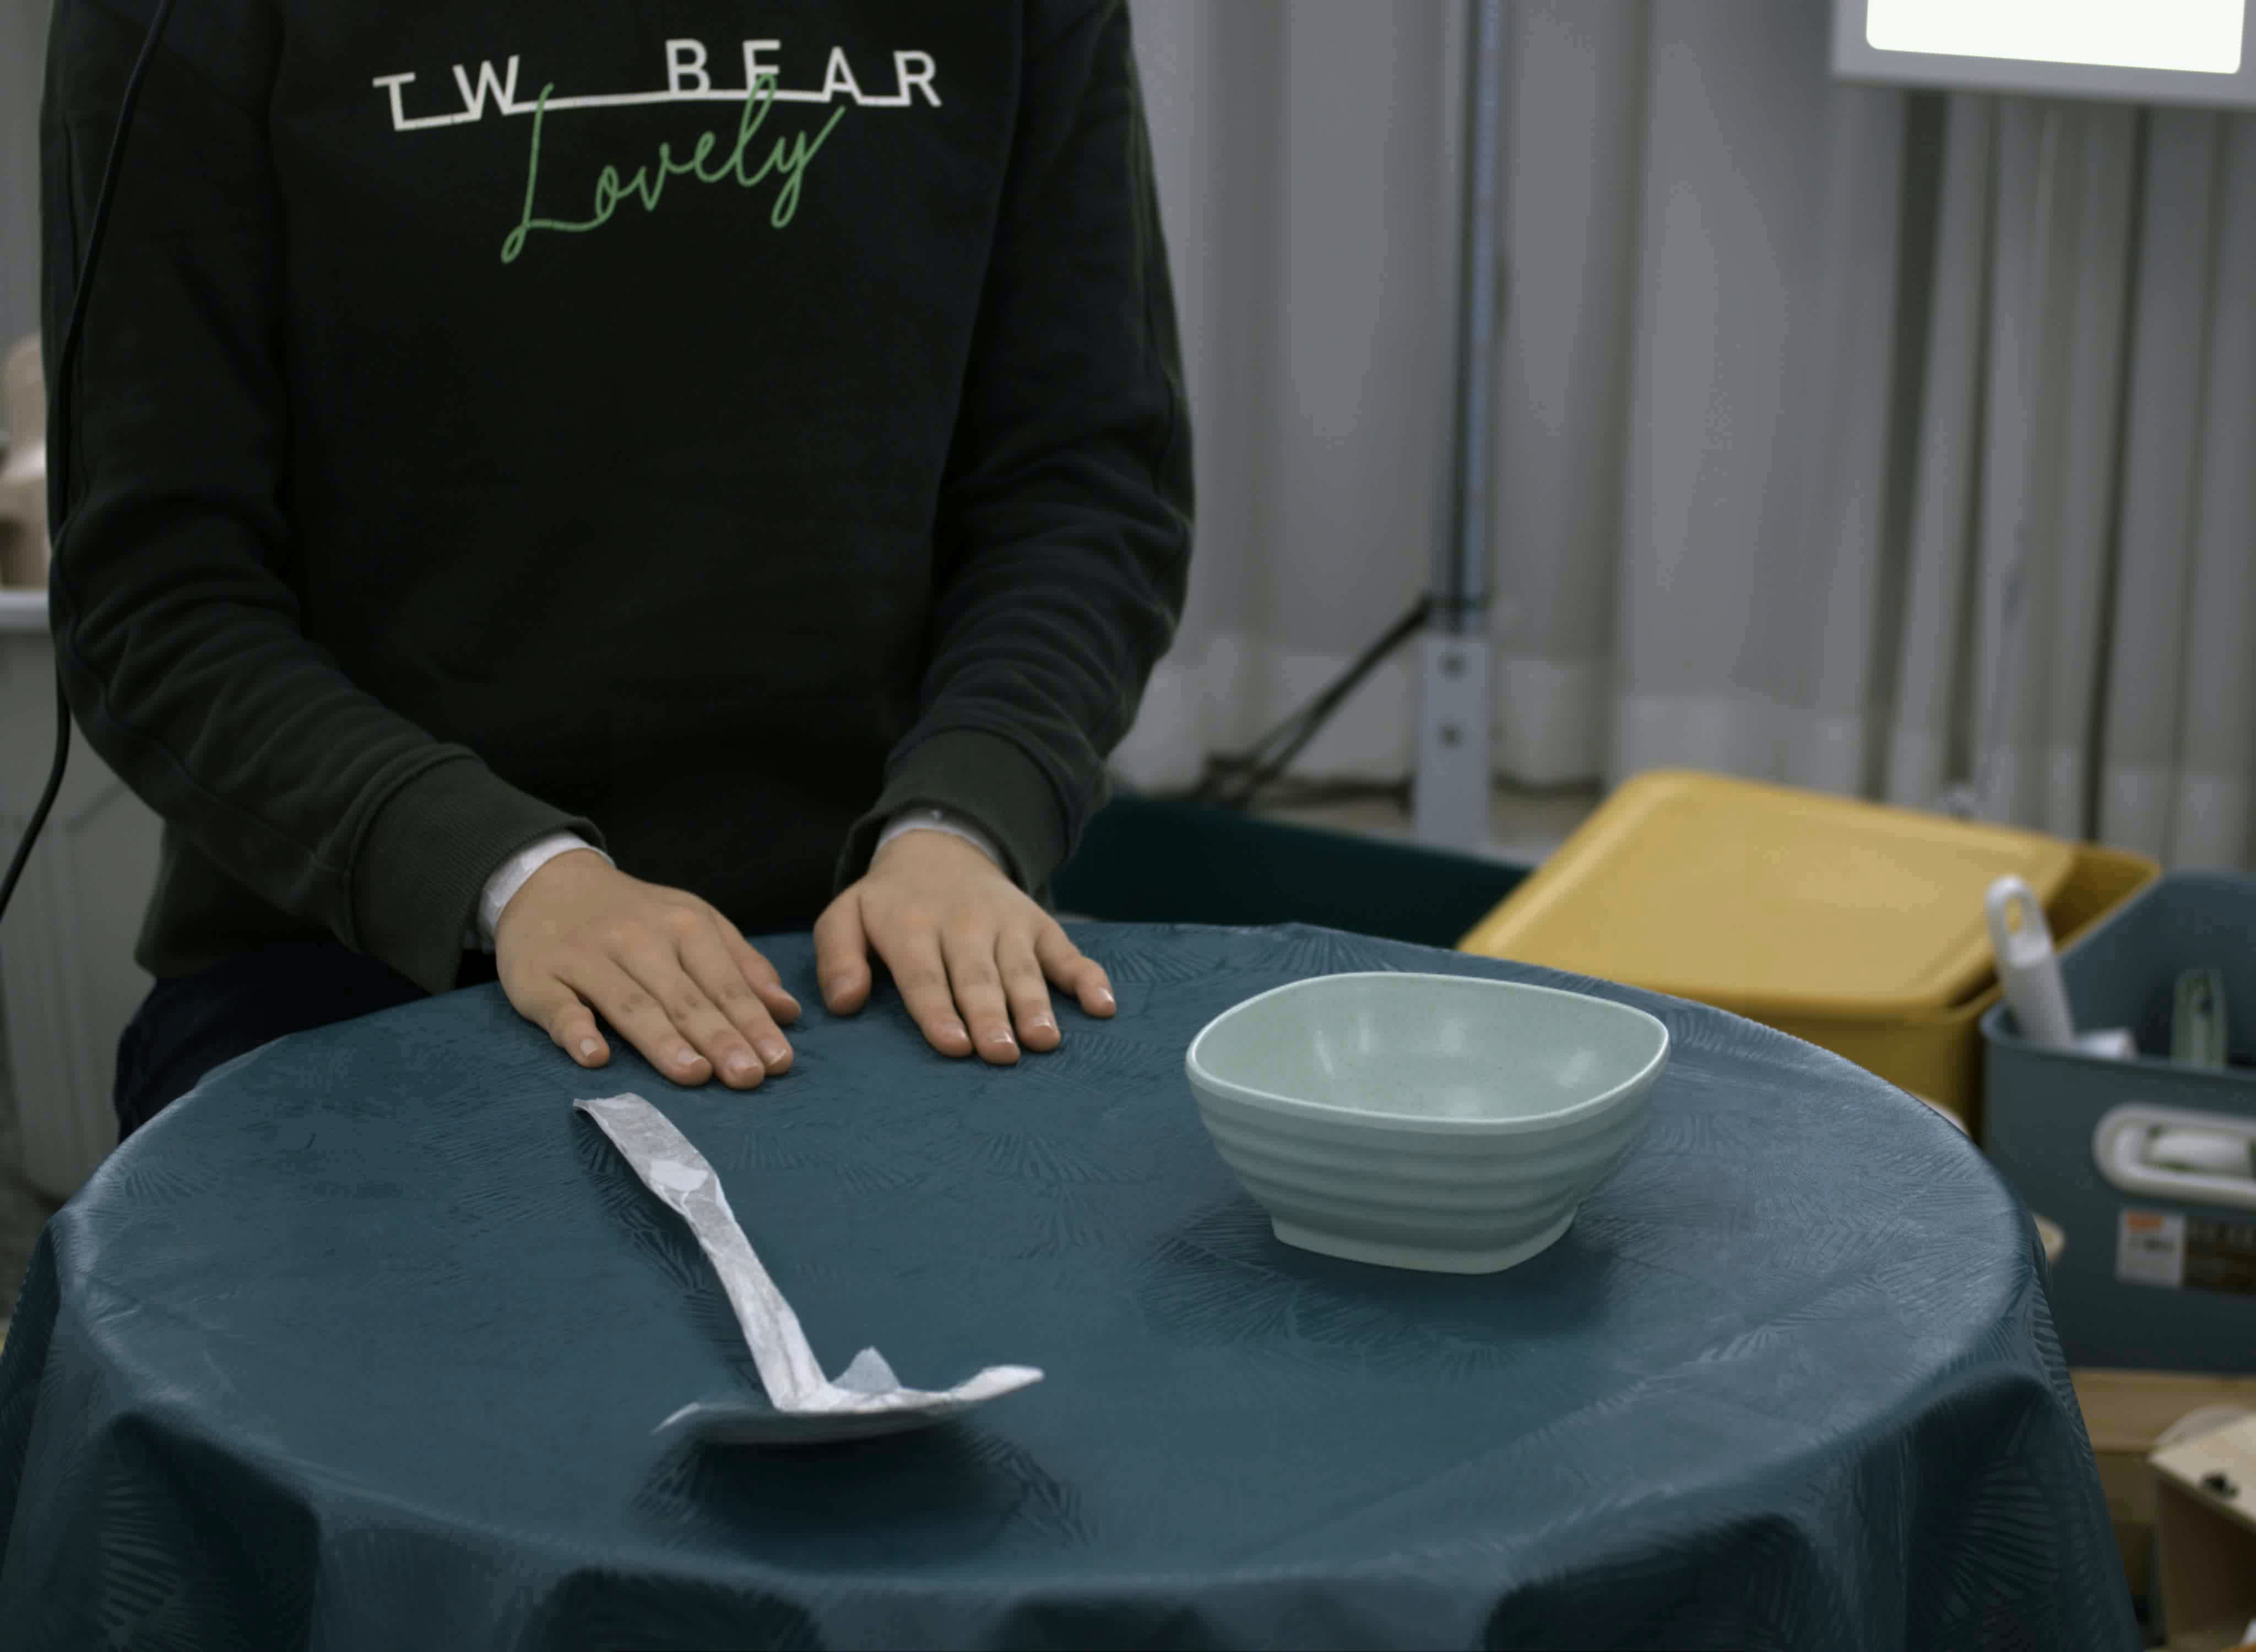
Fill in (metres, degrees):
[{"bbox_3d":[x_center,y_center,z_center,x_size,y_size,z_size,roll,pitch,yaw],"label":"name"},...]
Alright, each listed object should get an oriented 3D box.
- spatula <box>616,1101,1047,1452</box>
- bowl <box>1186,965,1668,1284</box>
[{"bbox_3d":[-0.111,0.121,1.522,0.099,0.045,0.361,-6,17,-15],"label":"spatula"},{"bbox_3d":[0.090,0.094,1.595,0.151,0.059,0.150,2,18,0],"label":"bowl"}]
